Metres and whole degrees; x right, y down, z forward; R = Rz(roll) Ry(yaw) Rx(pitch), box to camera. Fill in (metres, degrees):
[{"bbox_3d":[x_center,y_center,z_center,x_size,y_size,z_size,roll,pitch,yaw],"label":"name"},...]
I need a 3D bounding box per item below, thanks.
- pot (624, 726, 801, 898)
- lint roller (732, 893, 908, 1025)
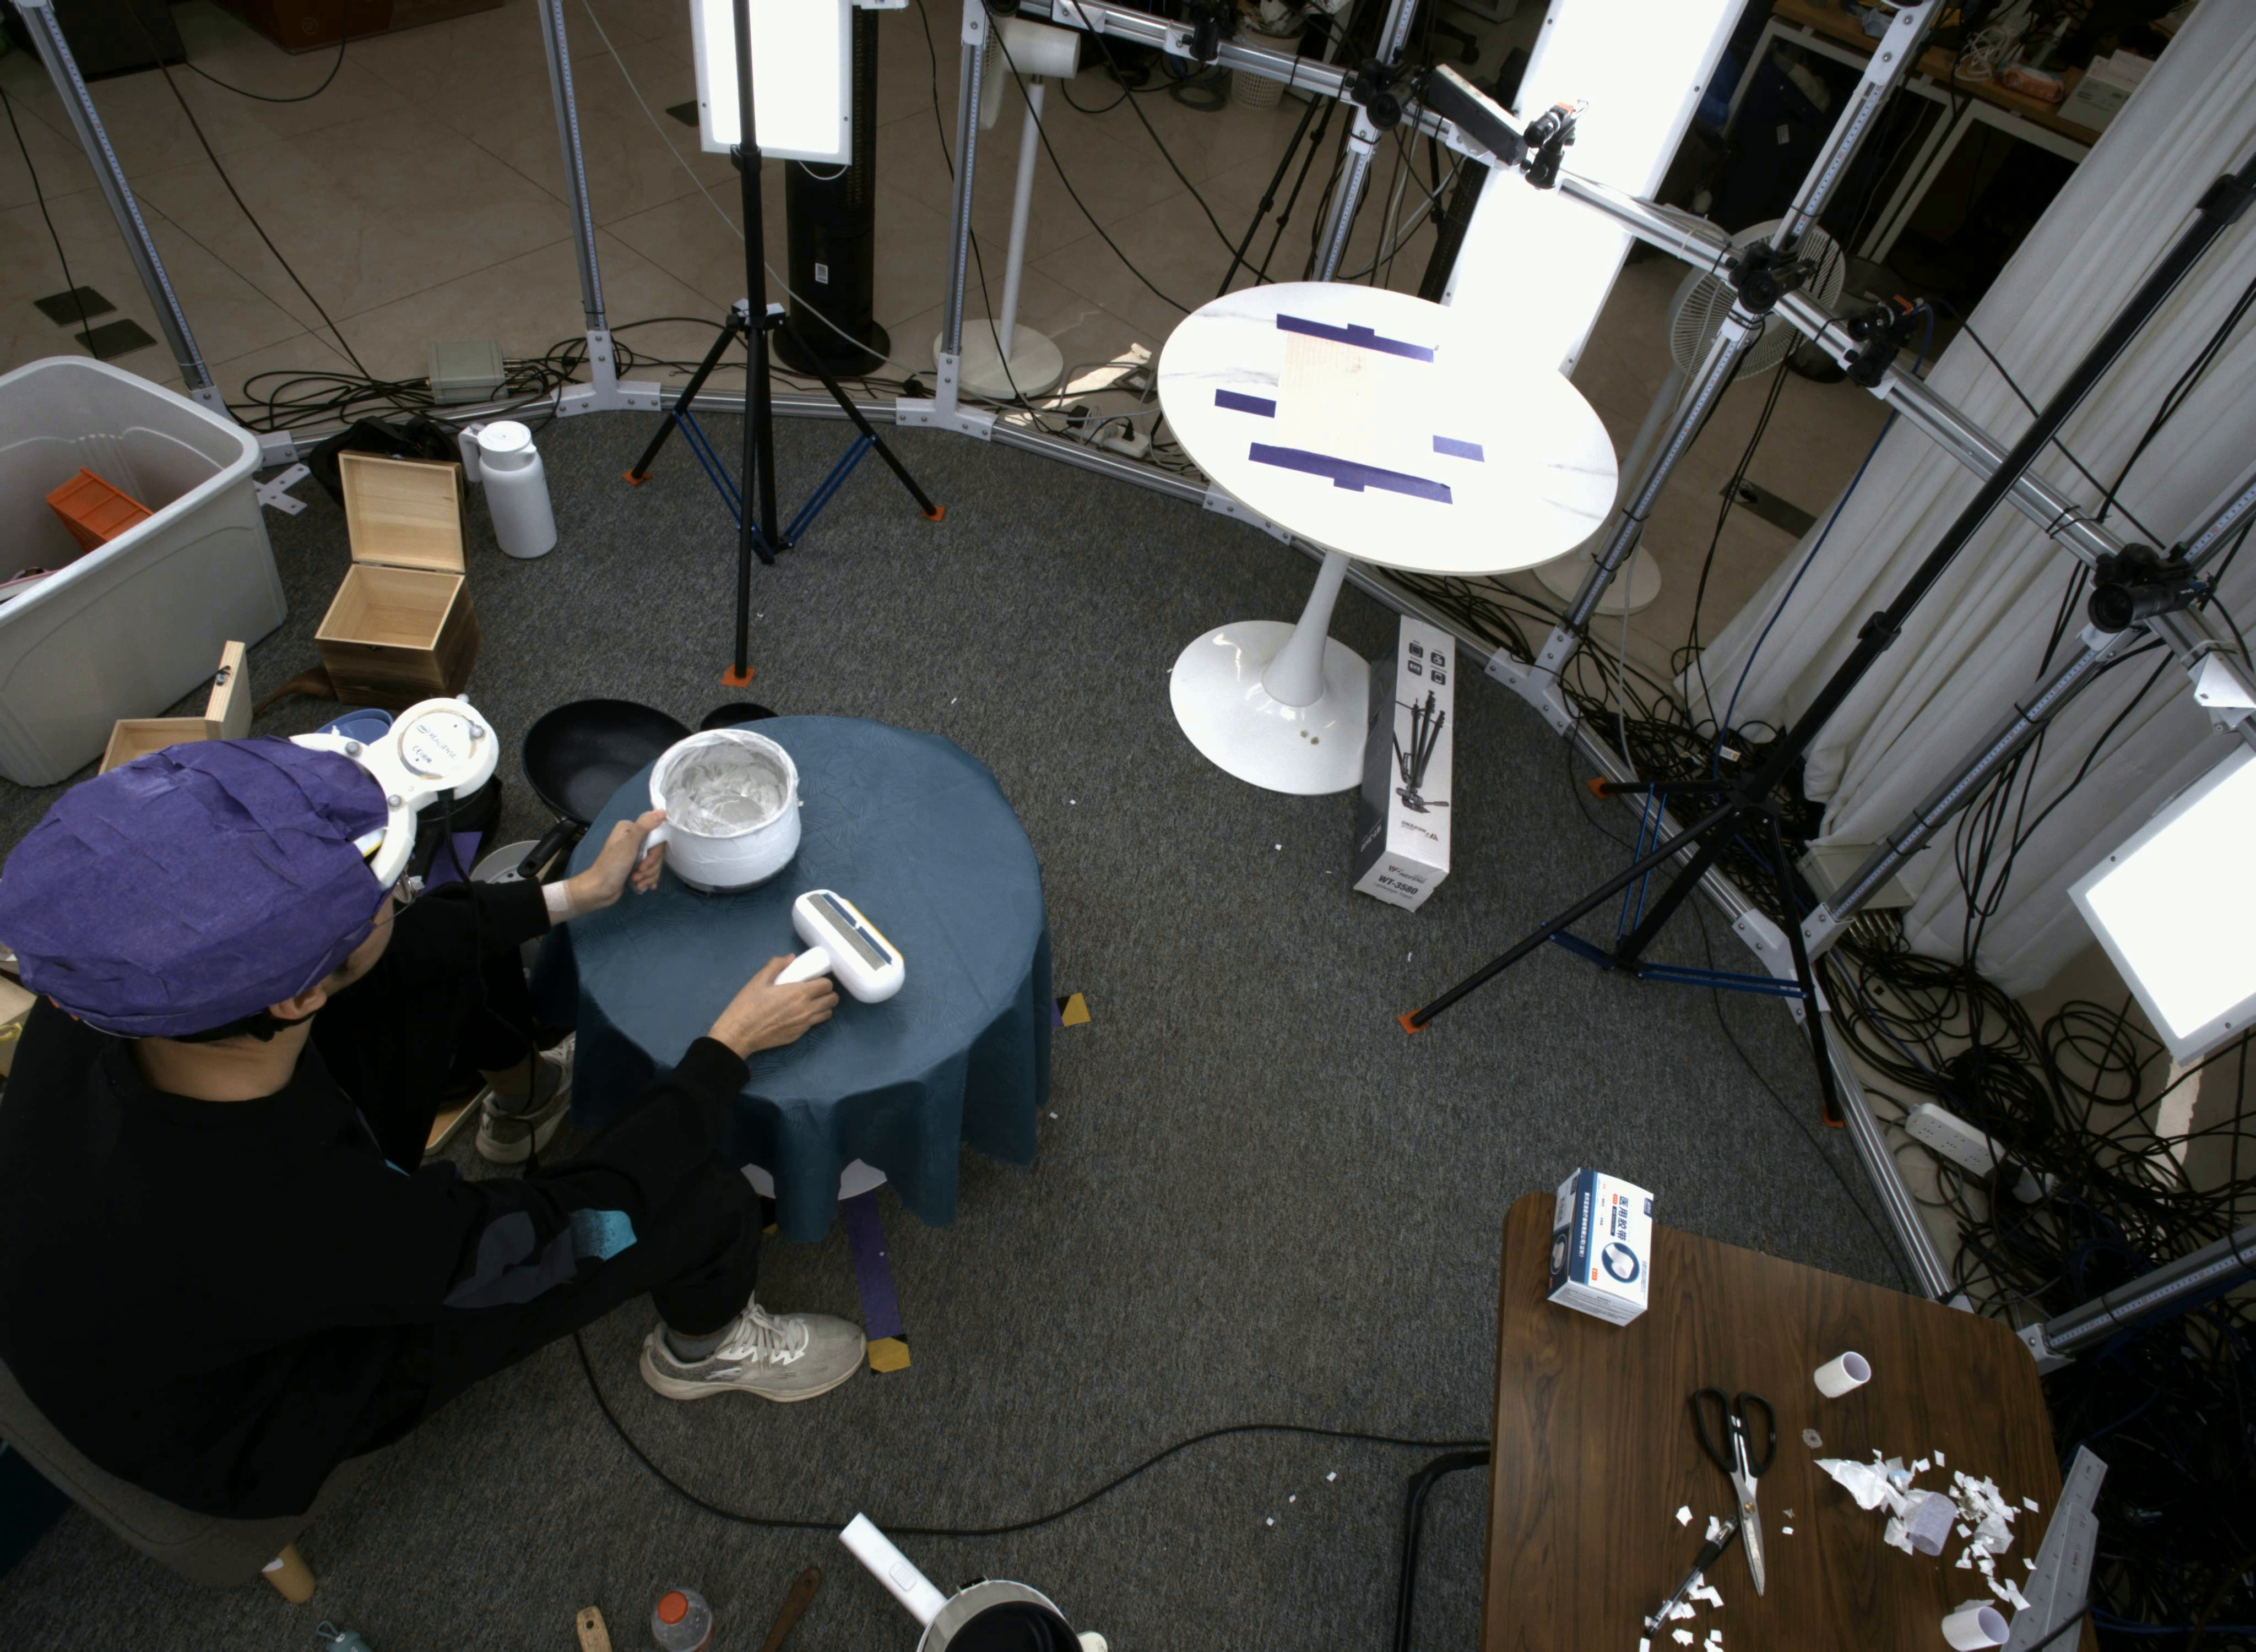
[{"bbox_3d":[-0.524,-0.005,1.614,0.234,0.140,0.174,-31,63,-33],"label":"pot"},{"bbox_3d":[-0.385,0.173,1.556,0.193,0.076,0.186,-23,51,-31],"label":"lint roller"}]
